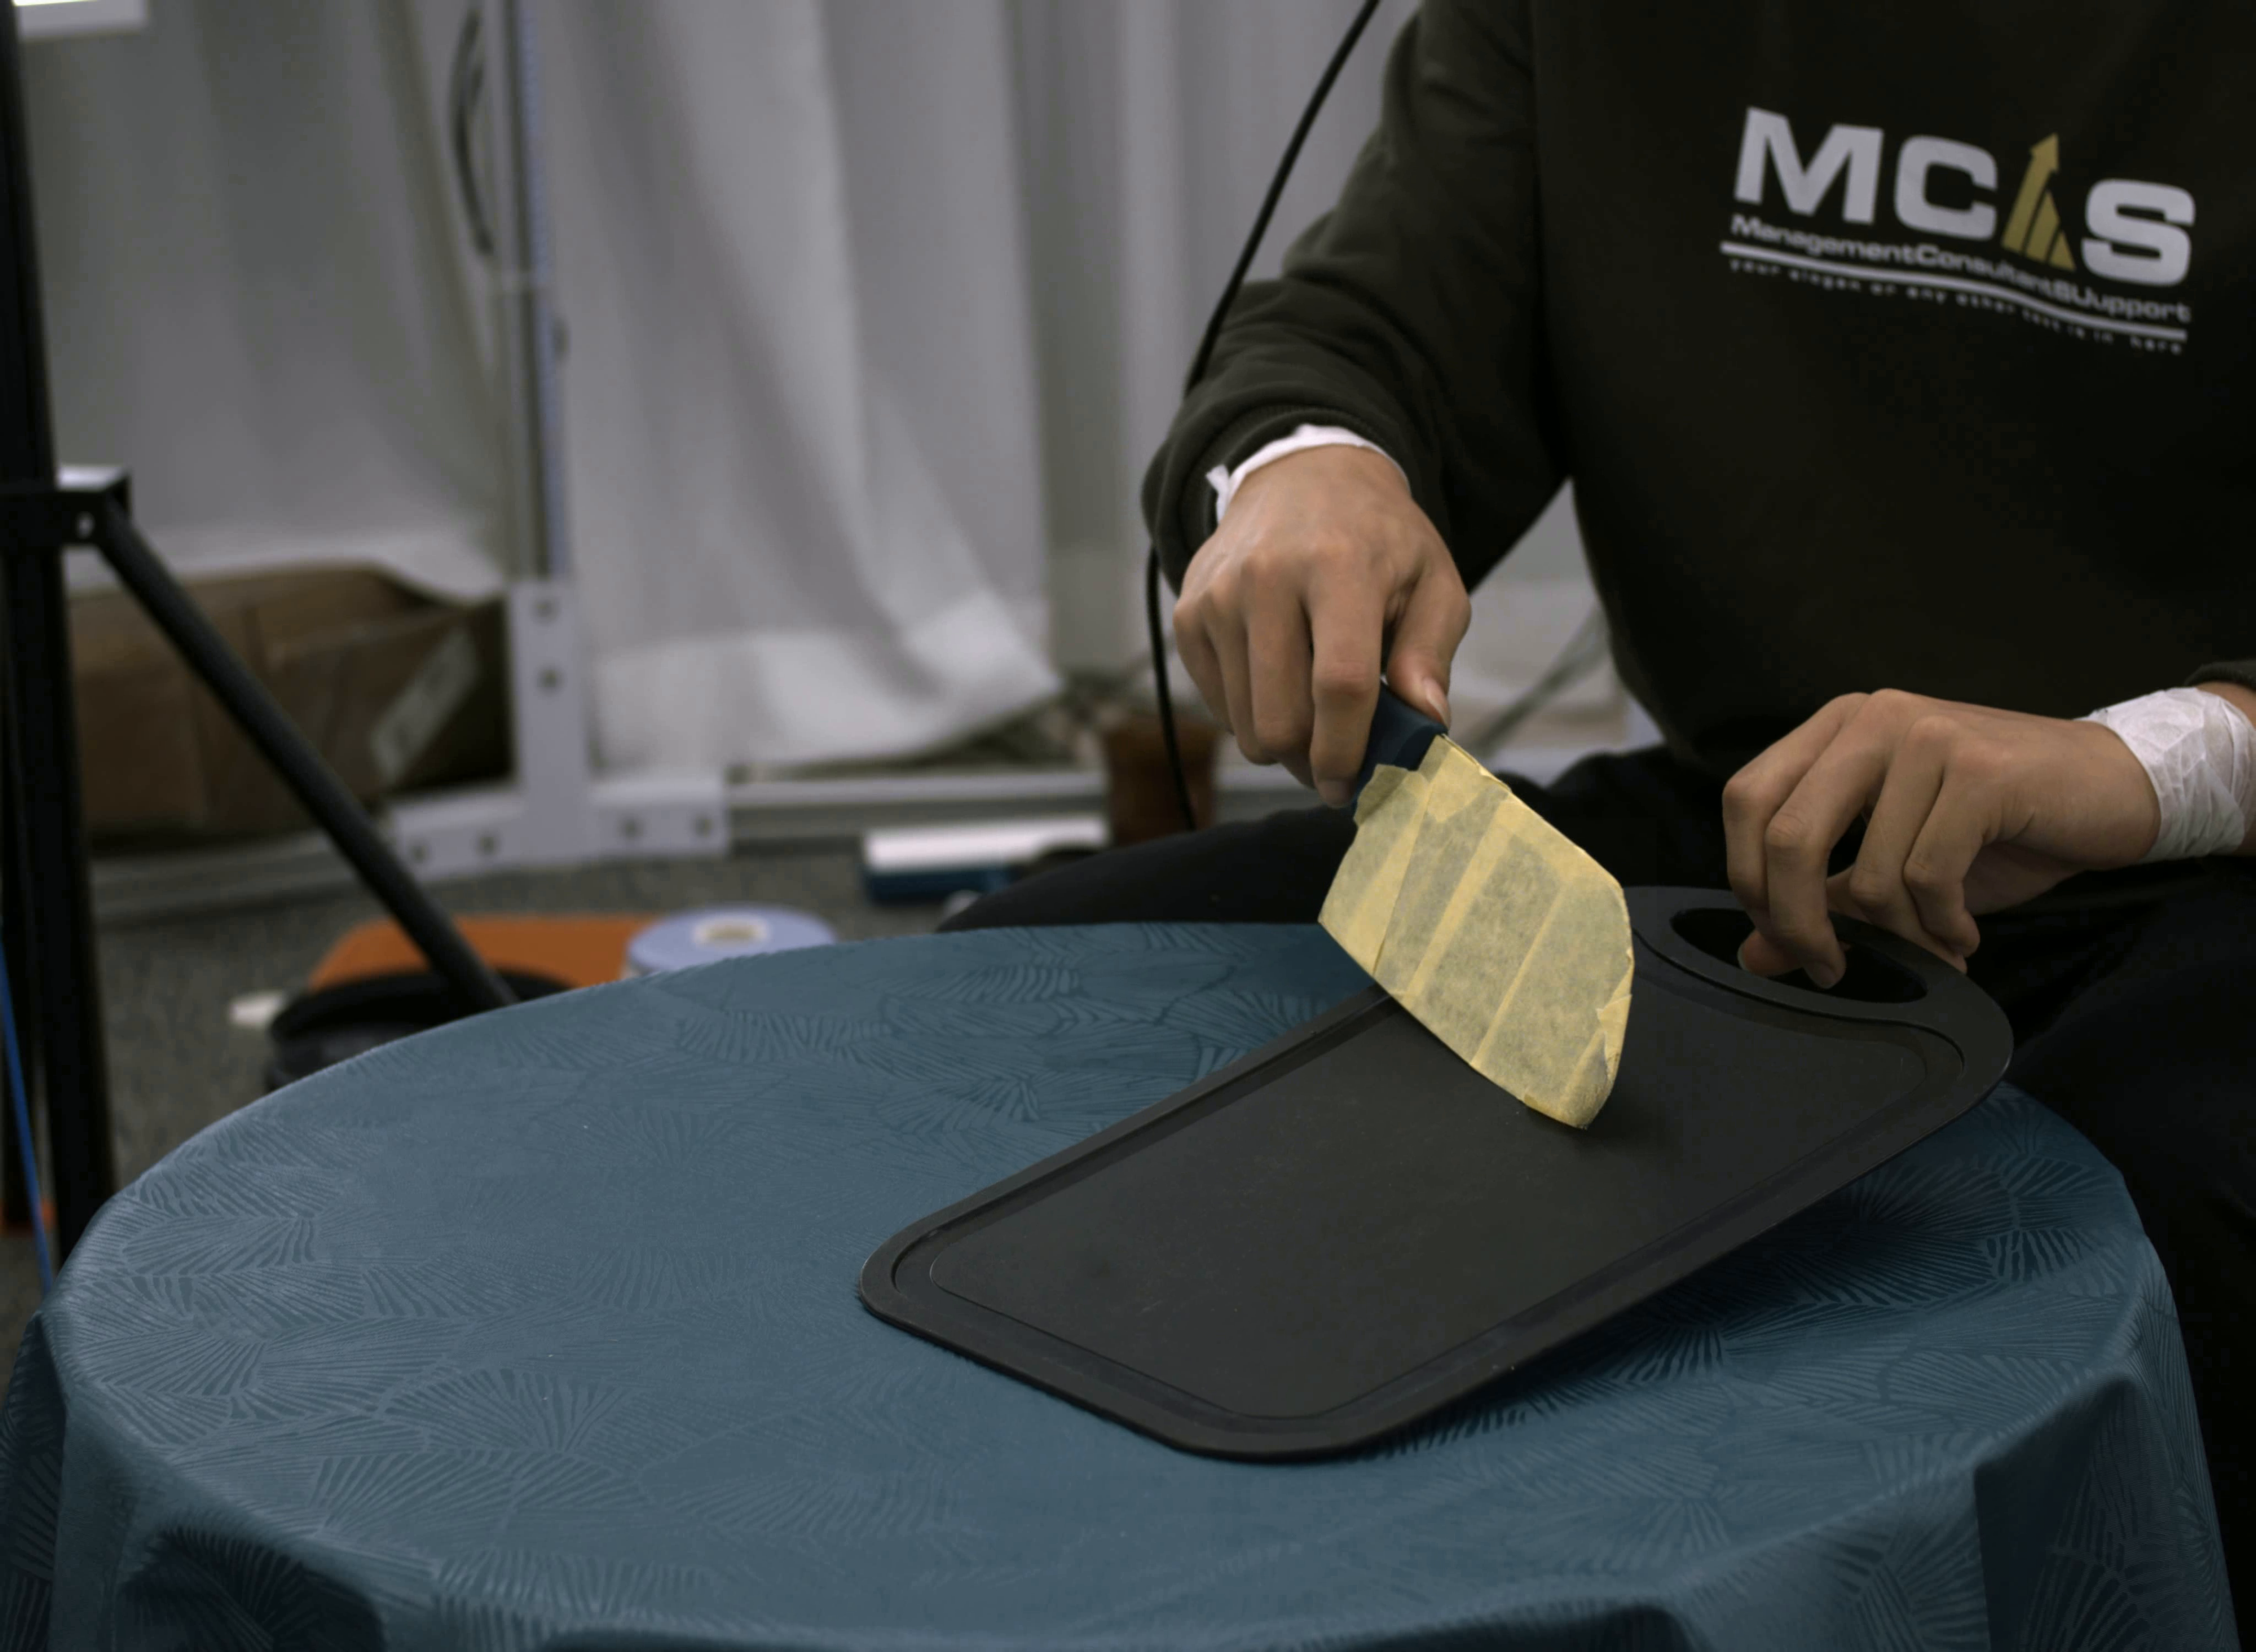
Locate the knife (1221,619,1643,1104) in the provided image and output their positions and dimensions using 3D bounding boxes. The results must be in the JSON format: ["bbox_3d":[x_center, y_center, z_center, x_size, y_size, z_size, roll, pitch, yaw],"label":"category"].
[{"bbox_3d":[0.086,0.007,1.614,0.026,0.081,0.295,25,13,-30],"label":"knife"}]

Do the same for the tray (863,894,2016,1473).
[{"bbox_3d":[0.095,0.090,1.501,0.319,0.010,0.216,-26,27,-31],"label":"tray"}]
